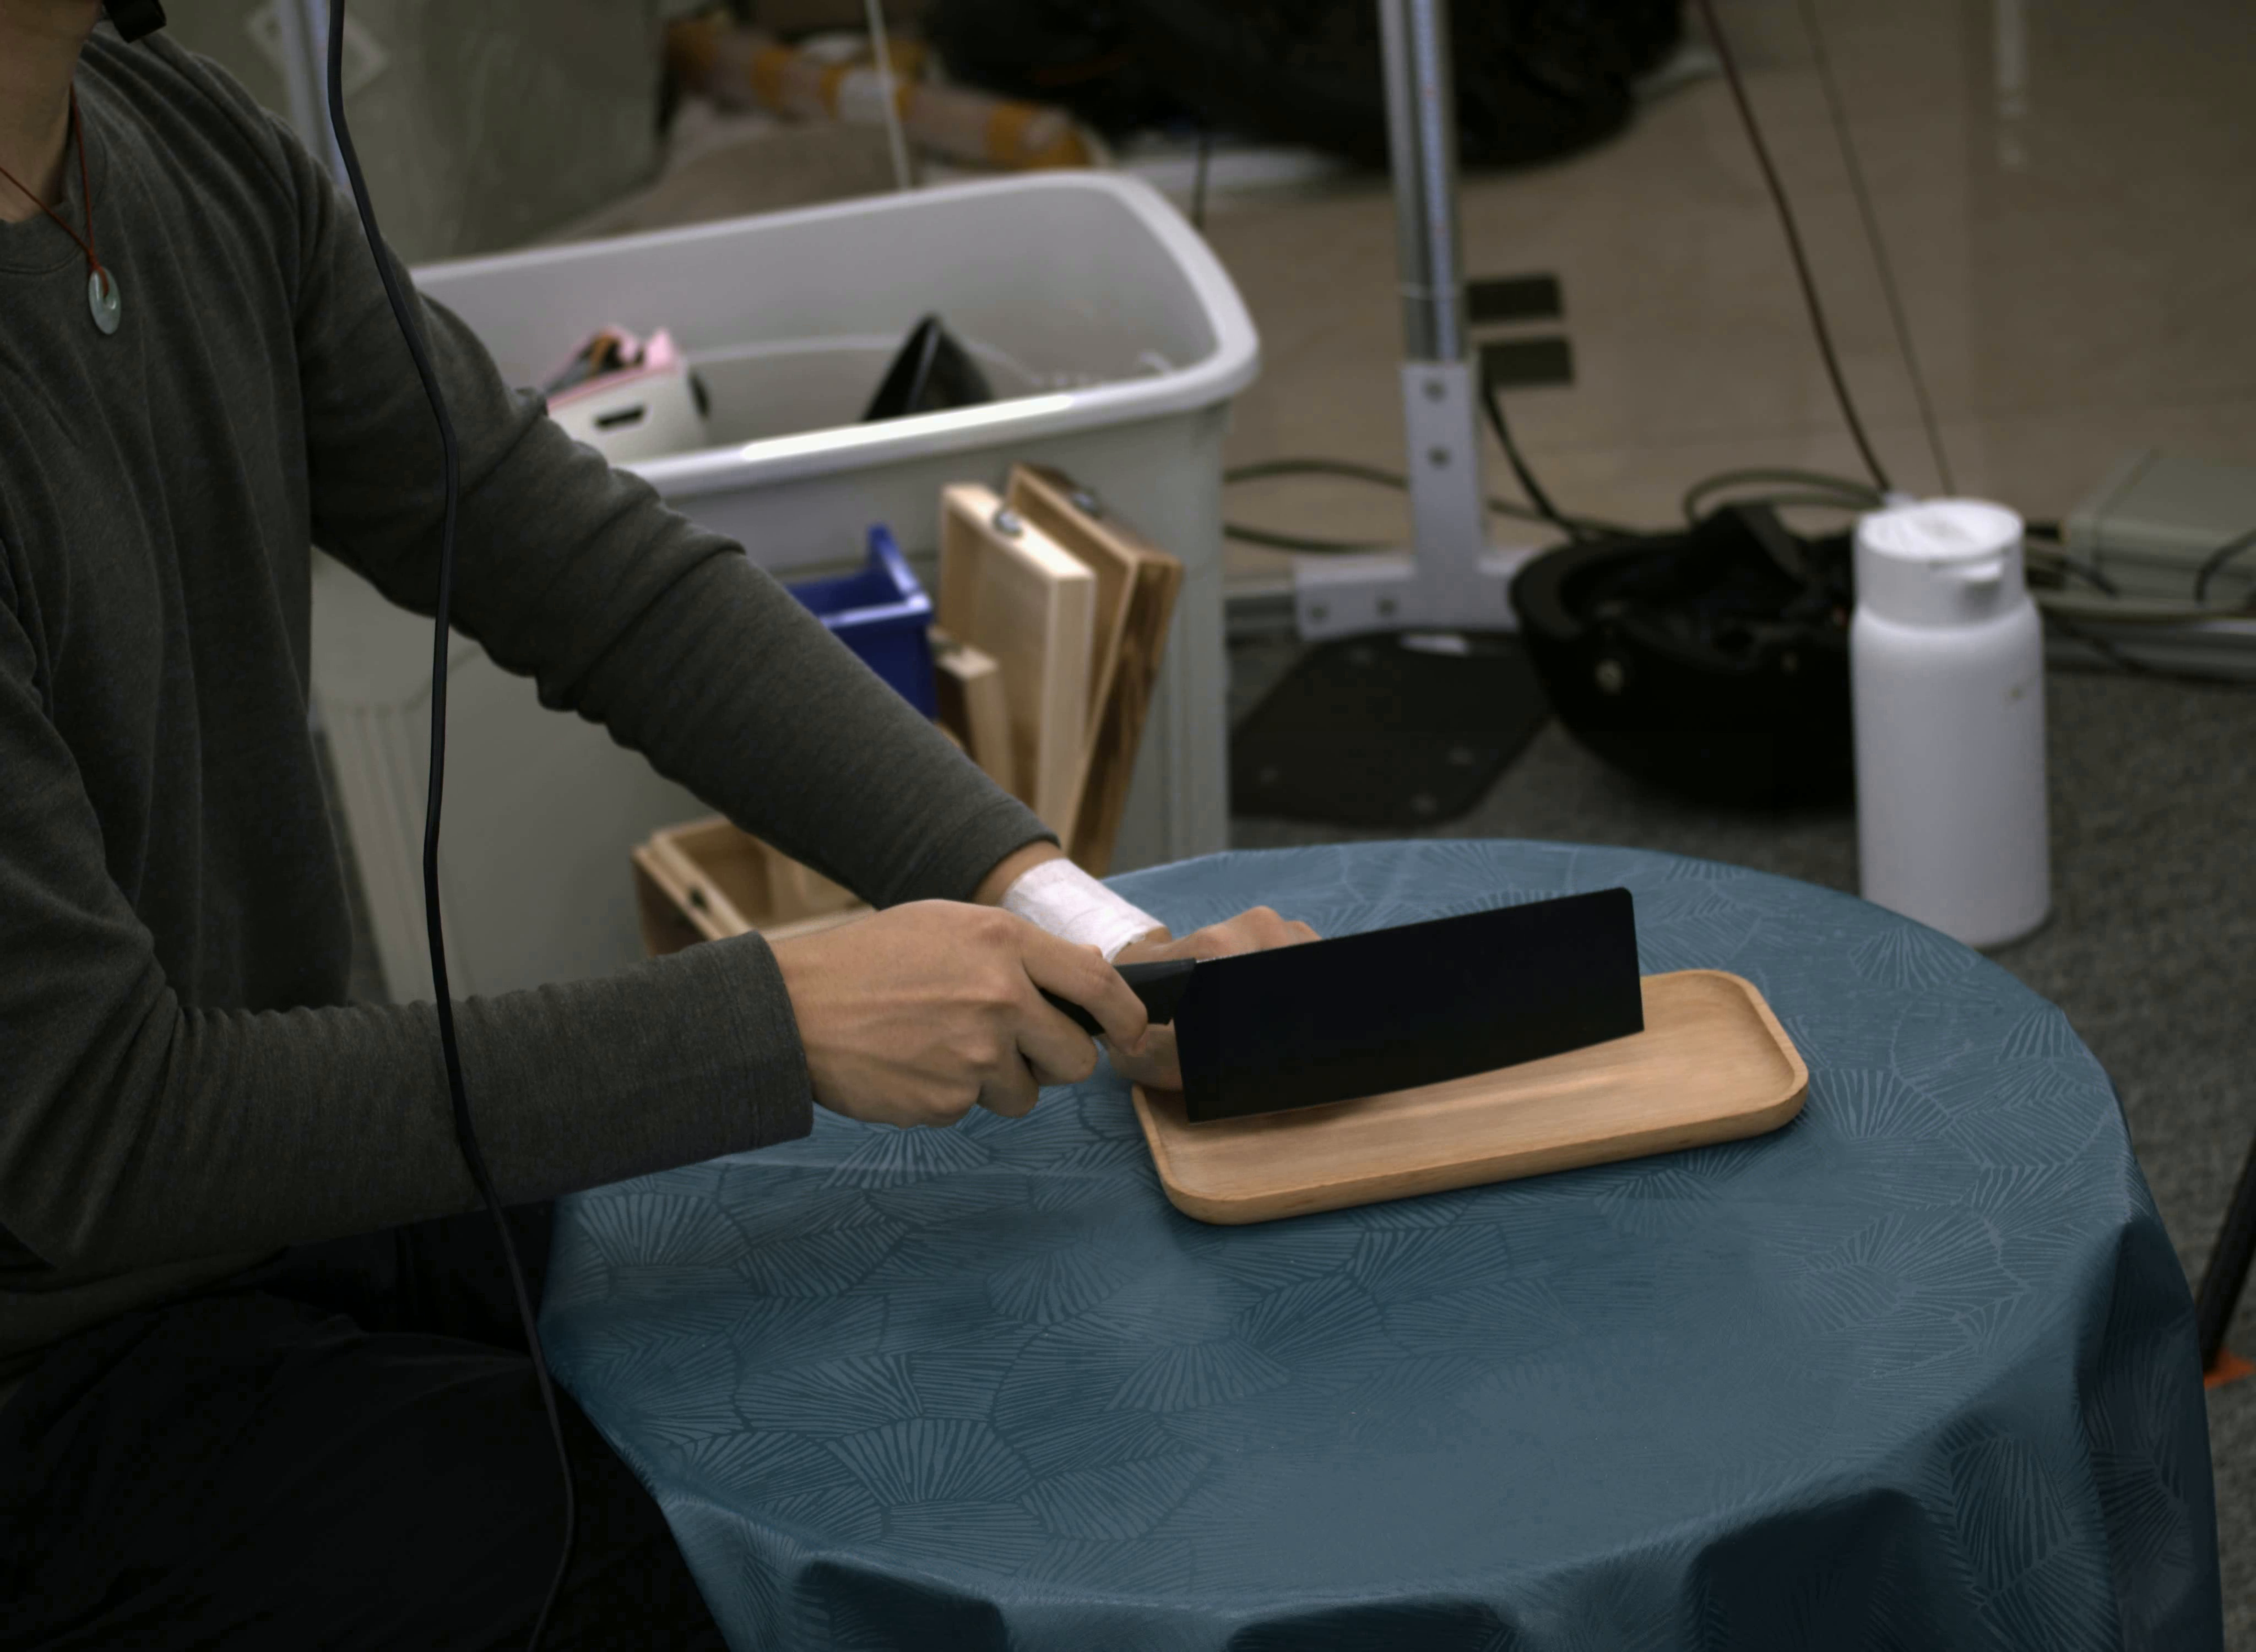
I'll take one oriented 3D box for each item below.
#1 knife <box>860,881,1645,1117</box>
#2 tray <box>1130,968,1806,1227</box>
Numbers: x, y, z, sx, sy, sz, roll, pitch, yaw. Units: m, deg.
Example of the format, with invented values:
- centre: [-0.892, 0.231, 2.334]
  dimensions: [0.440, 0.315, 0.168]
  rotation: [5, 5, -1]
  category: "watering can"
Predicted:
- centre: [0.048, 0.072, 2.143]
  dimensions: [0.302, 0.082, 0.020]
  rotation: [-6, 19, -7]
  category: "knife"
- centre: [0.129, 0.104, 2.177]
  dimensions: [0.250, 0.023, 0.129]
  rotation: [-10, 22, -4]
  category: "tray"
